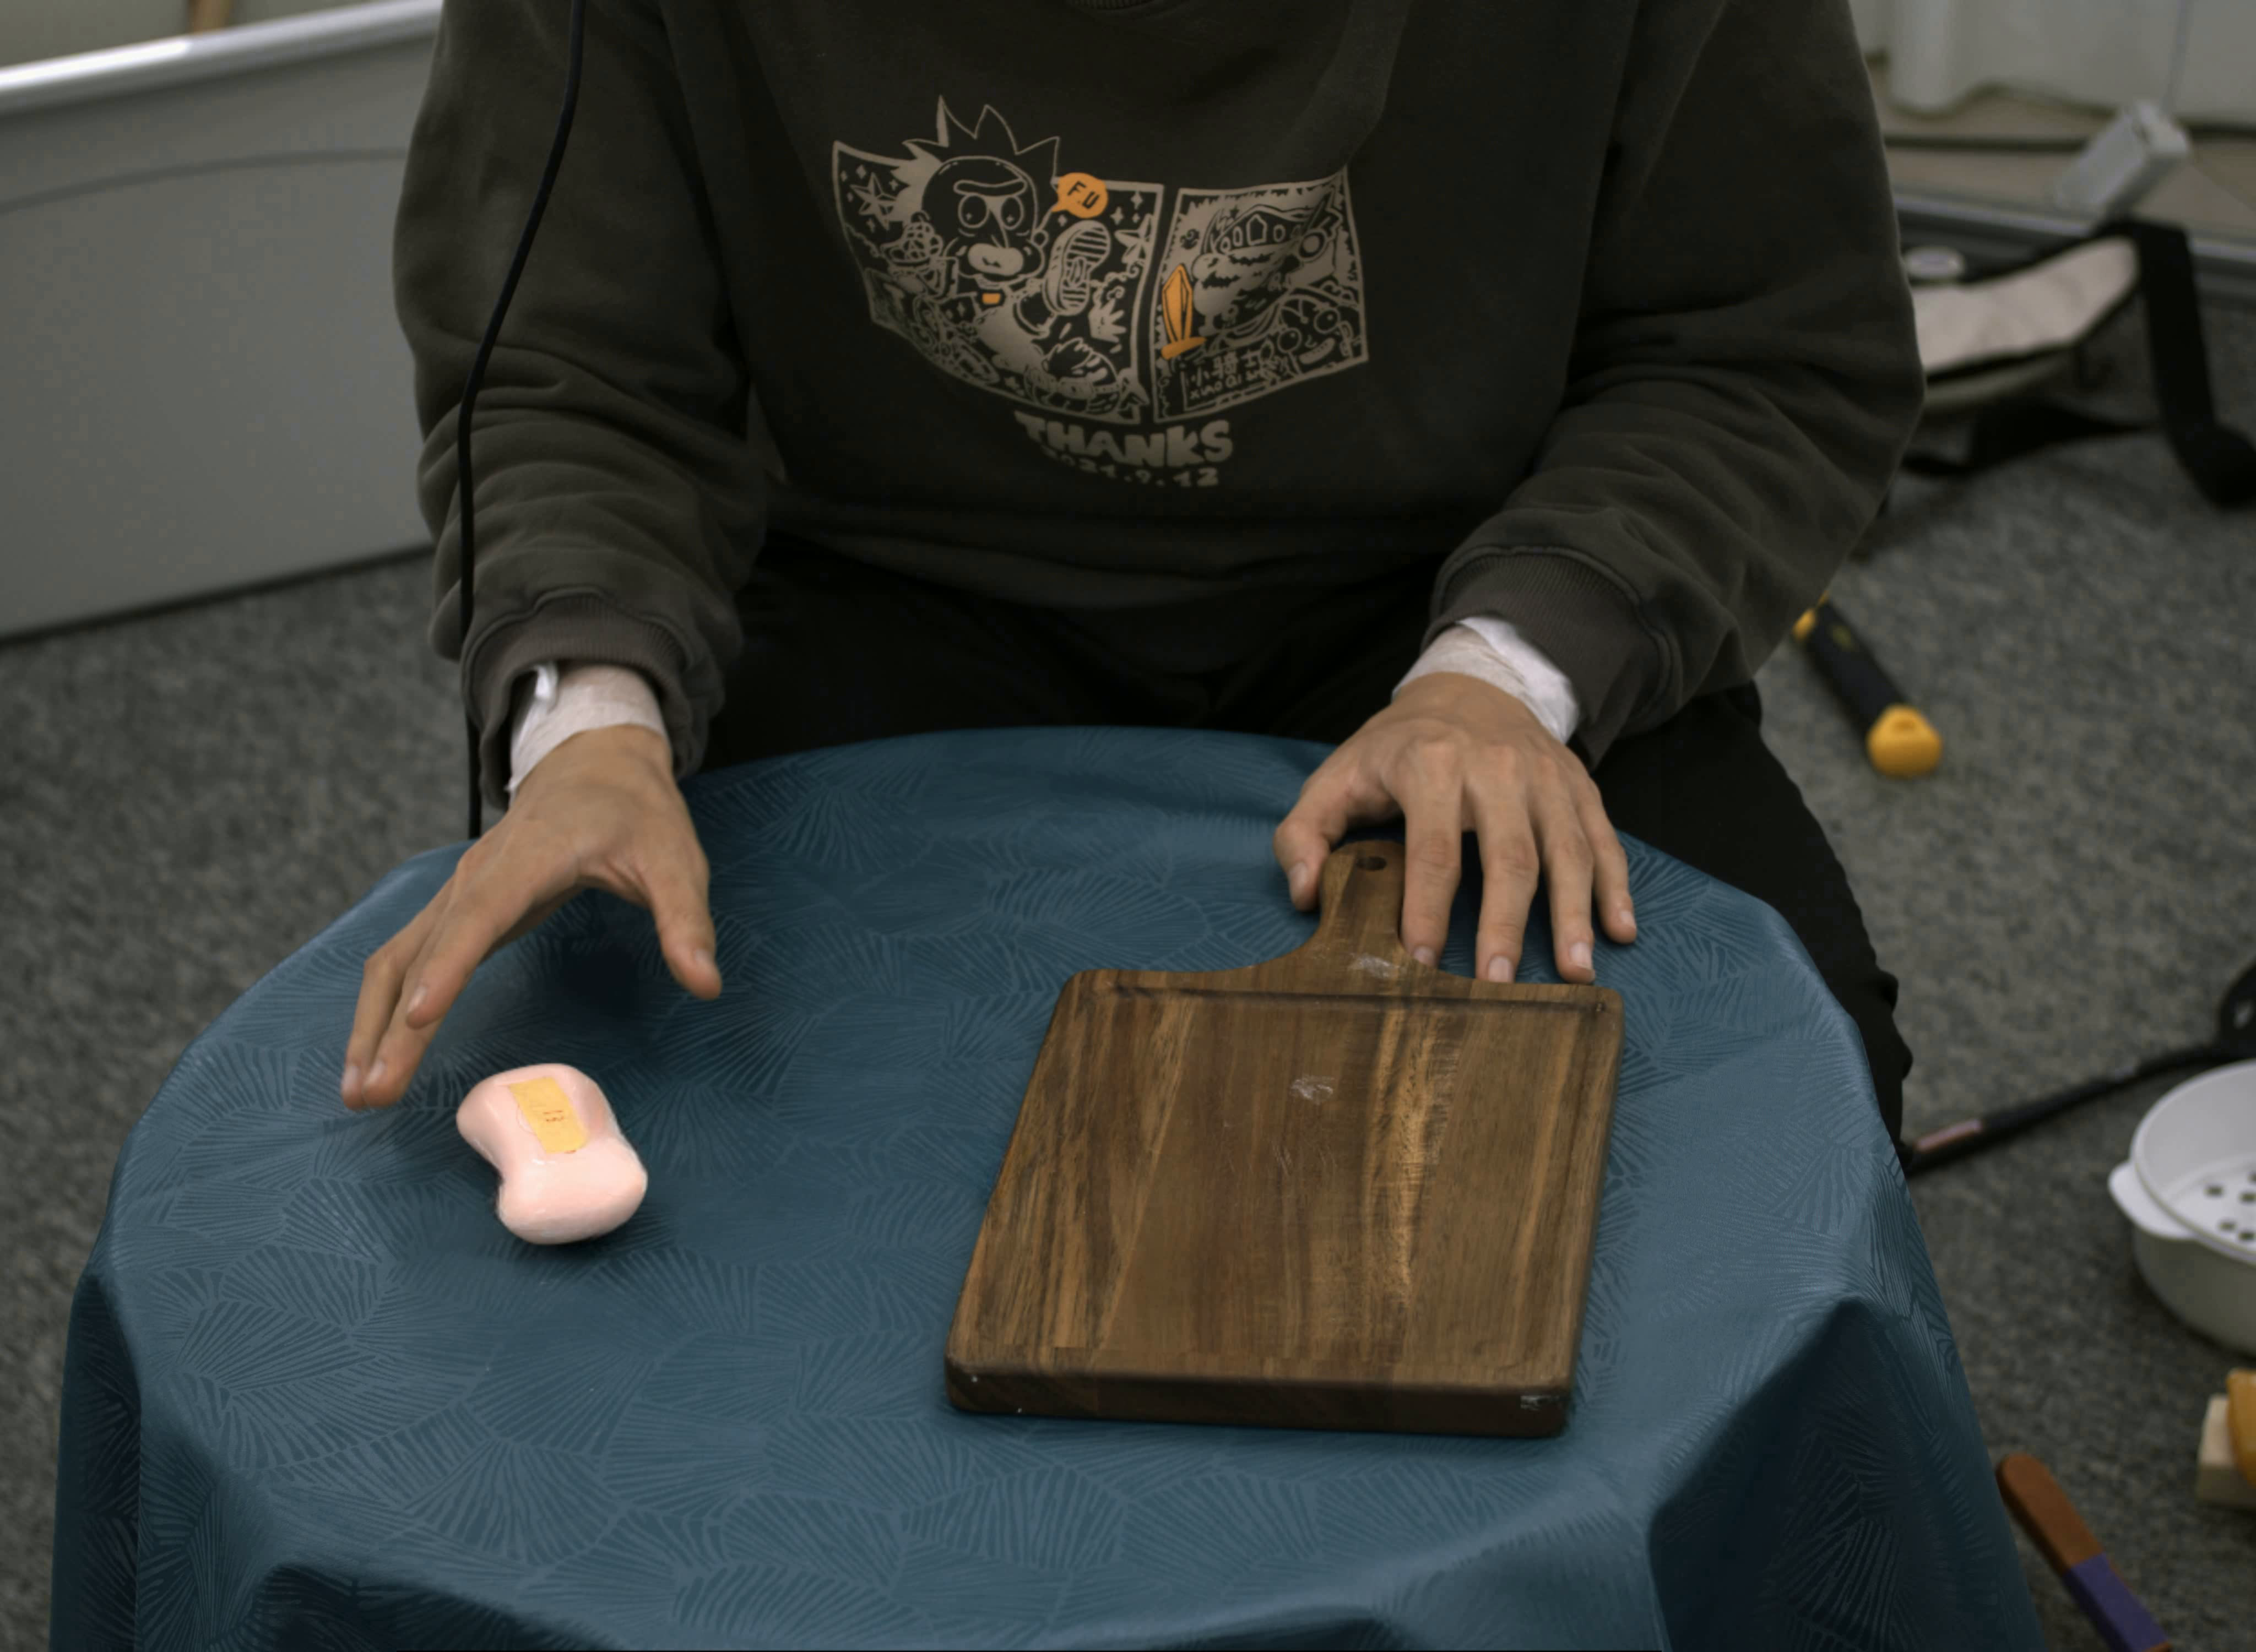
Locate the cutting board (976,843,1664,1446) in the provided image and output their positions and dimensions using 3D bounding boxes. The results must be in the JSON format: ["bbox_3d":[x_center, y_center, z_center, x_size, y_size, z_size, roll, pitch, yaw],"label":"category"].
[{"bbox_3d":[0.076,0.097,1.877,0.200,0.023,0.358,2,28,10],"label":"cutting board"}]

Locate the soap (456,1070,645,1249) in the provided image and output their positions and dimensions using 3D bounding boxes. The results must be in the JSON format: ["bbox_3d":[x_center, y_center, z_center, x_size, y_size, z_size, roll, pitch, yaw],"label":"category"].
[{"bbox_3d":[-0.193,0.111,1.870,0.050,0.030,0.095,-10,27,-15],"label":"soap"}]
